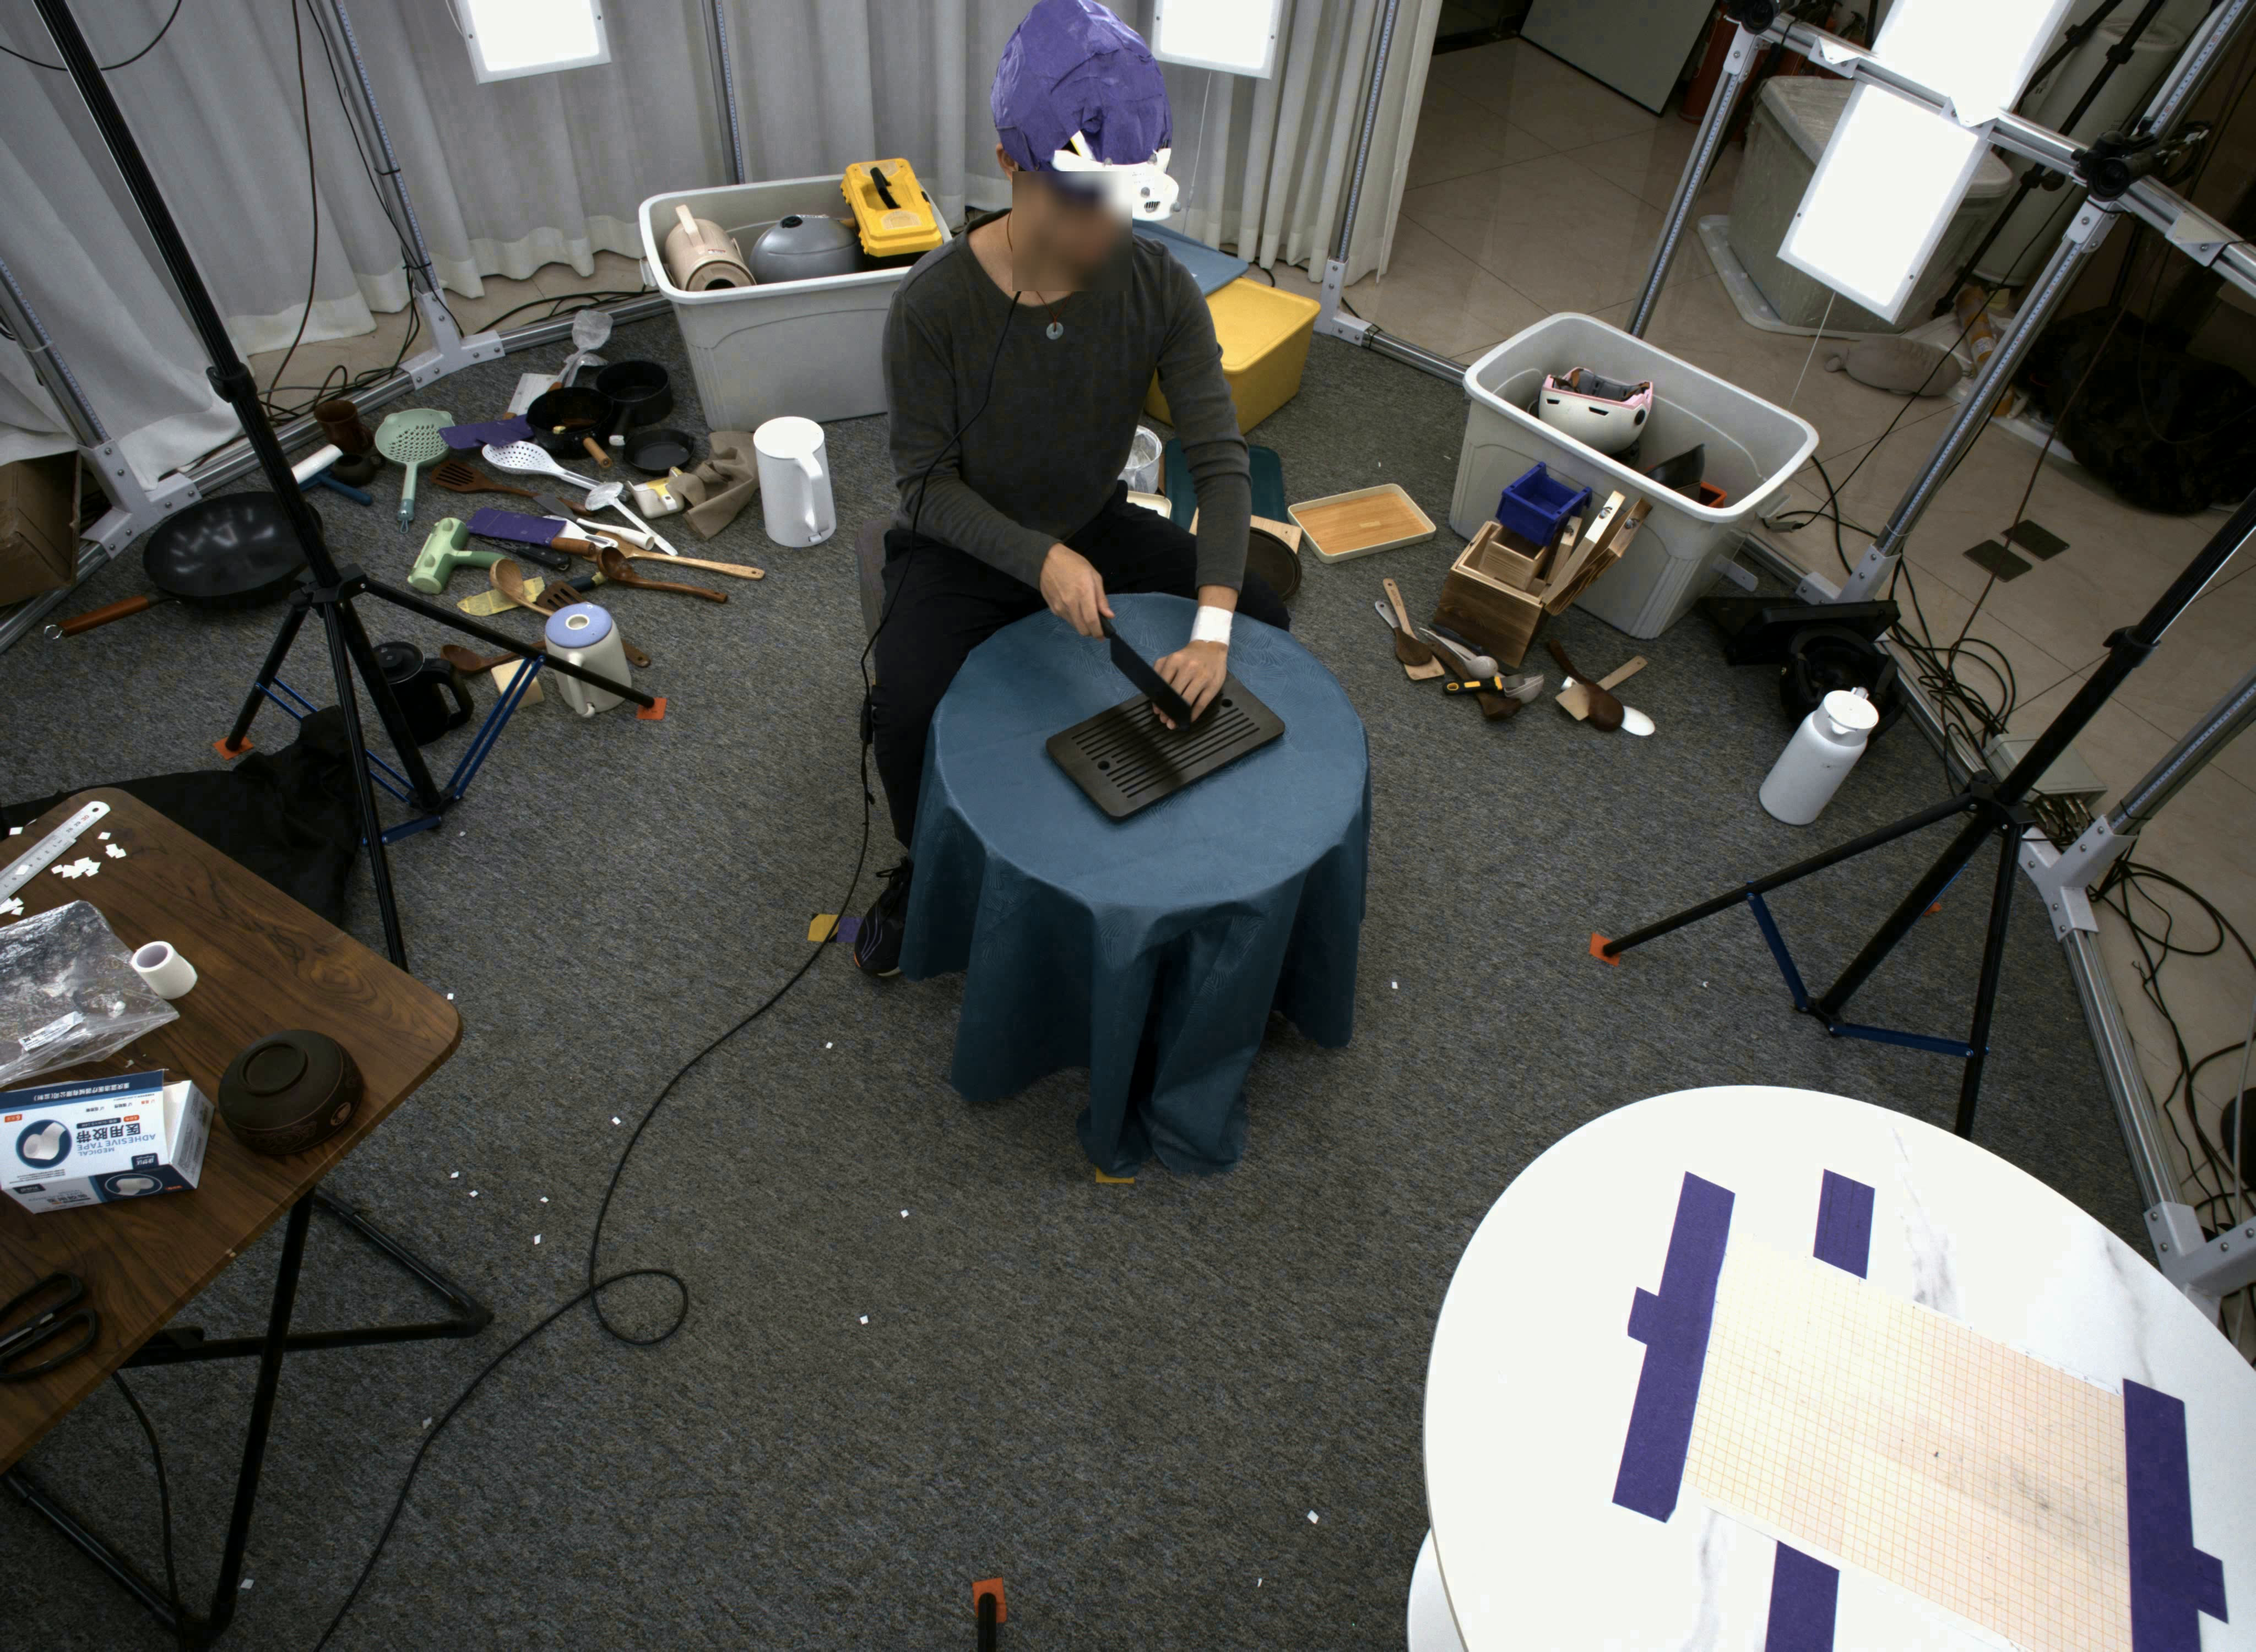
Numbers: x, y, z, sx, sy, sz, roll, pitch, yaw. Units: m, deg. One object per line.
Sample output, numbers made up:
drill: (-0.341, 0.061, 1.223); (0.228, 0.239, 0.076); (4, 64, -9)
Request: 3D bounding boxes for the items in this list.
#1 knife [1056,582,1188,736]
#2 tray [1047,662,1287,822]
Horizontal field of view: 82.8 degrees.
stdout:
knife: (-0.009, -0.235, 1.756); (0.021, 0.079, 0.308); (-30, 62, -19)
tray: (0.055, -0.119, 1.762); (0.307, 0.018, 0.173); (-28, 56, -25)
